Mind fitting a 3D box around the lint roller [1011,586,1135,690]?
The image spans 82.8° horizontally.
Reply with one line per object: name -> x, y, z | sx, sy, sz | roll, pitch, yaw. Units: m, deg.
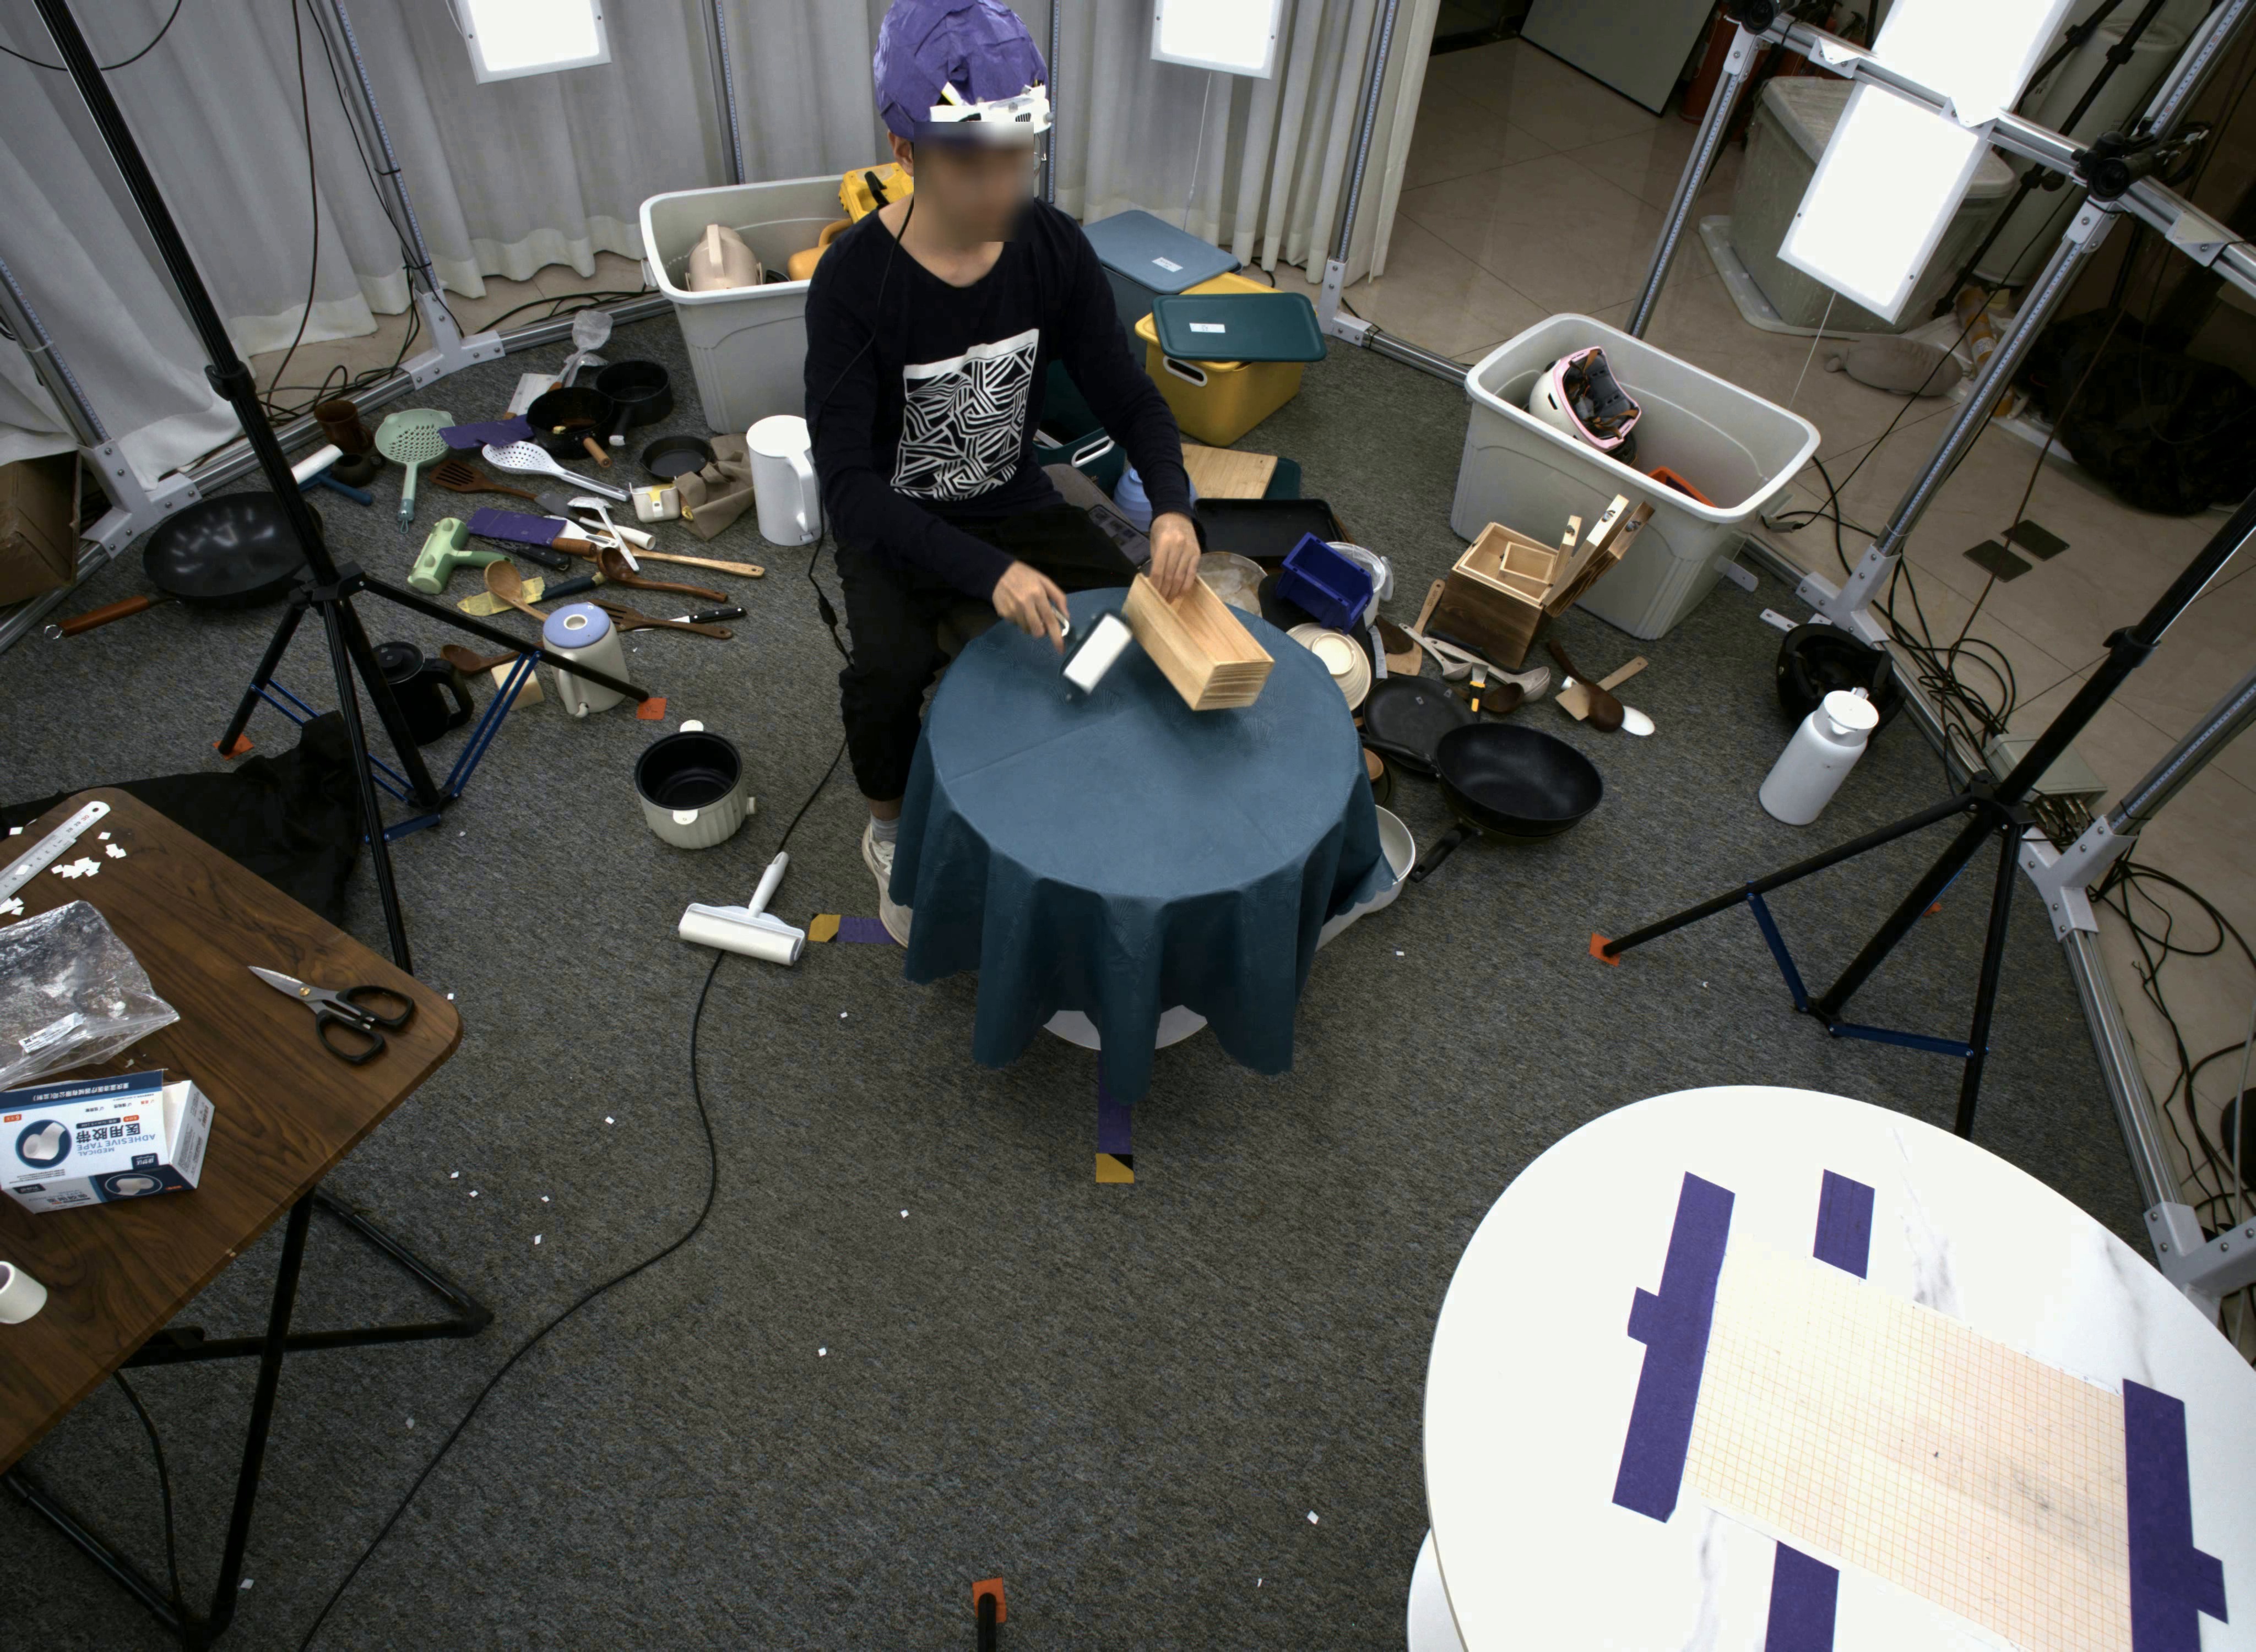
lint roller -> -0.094, -0.288, 1.809 | 0.181, 0.048, 0.134 | 35, 89, 8

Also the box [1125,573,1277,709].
box -> 0.096, -0.262, 1.796 | 0.107, 0.078, 0.216 | -8, 46, -36
